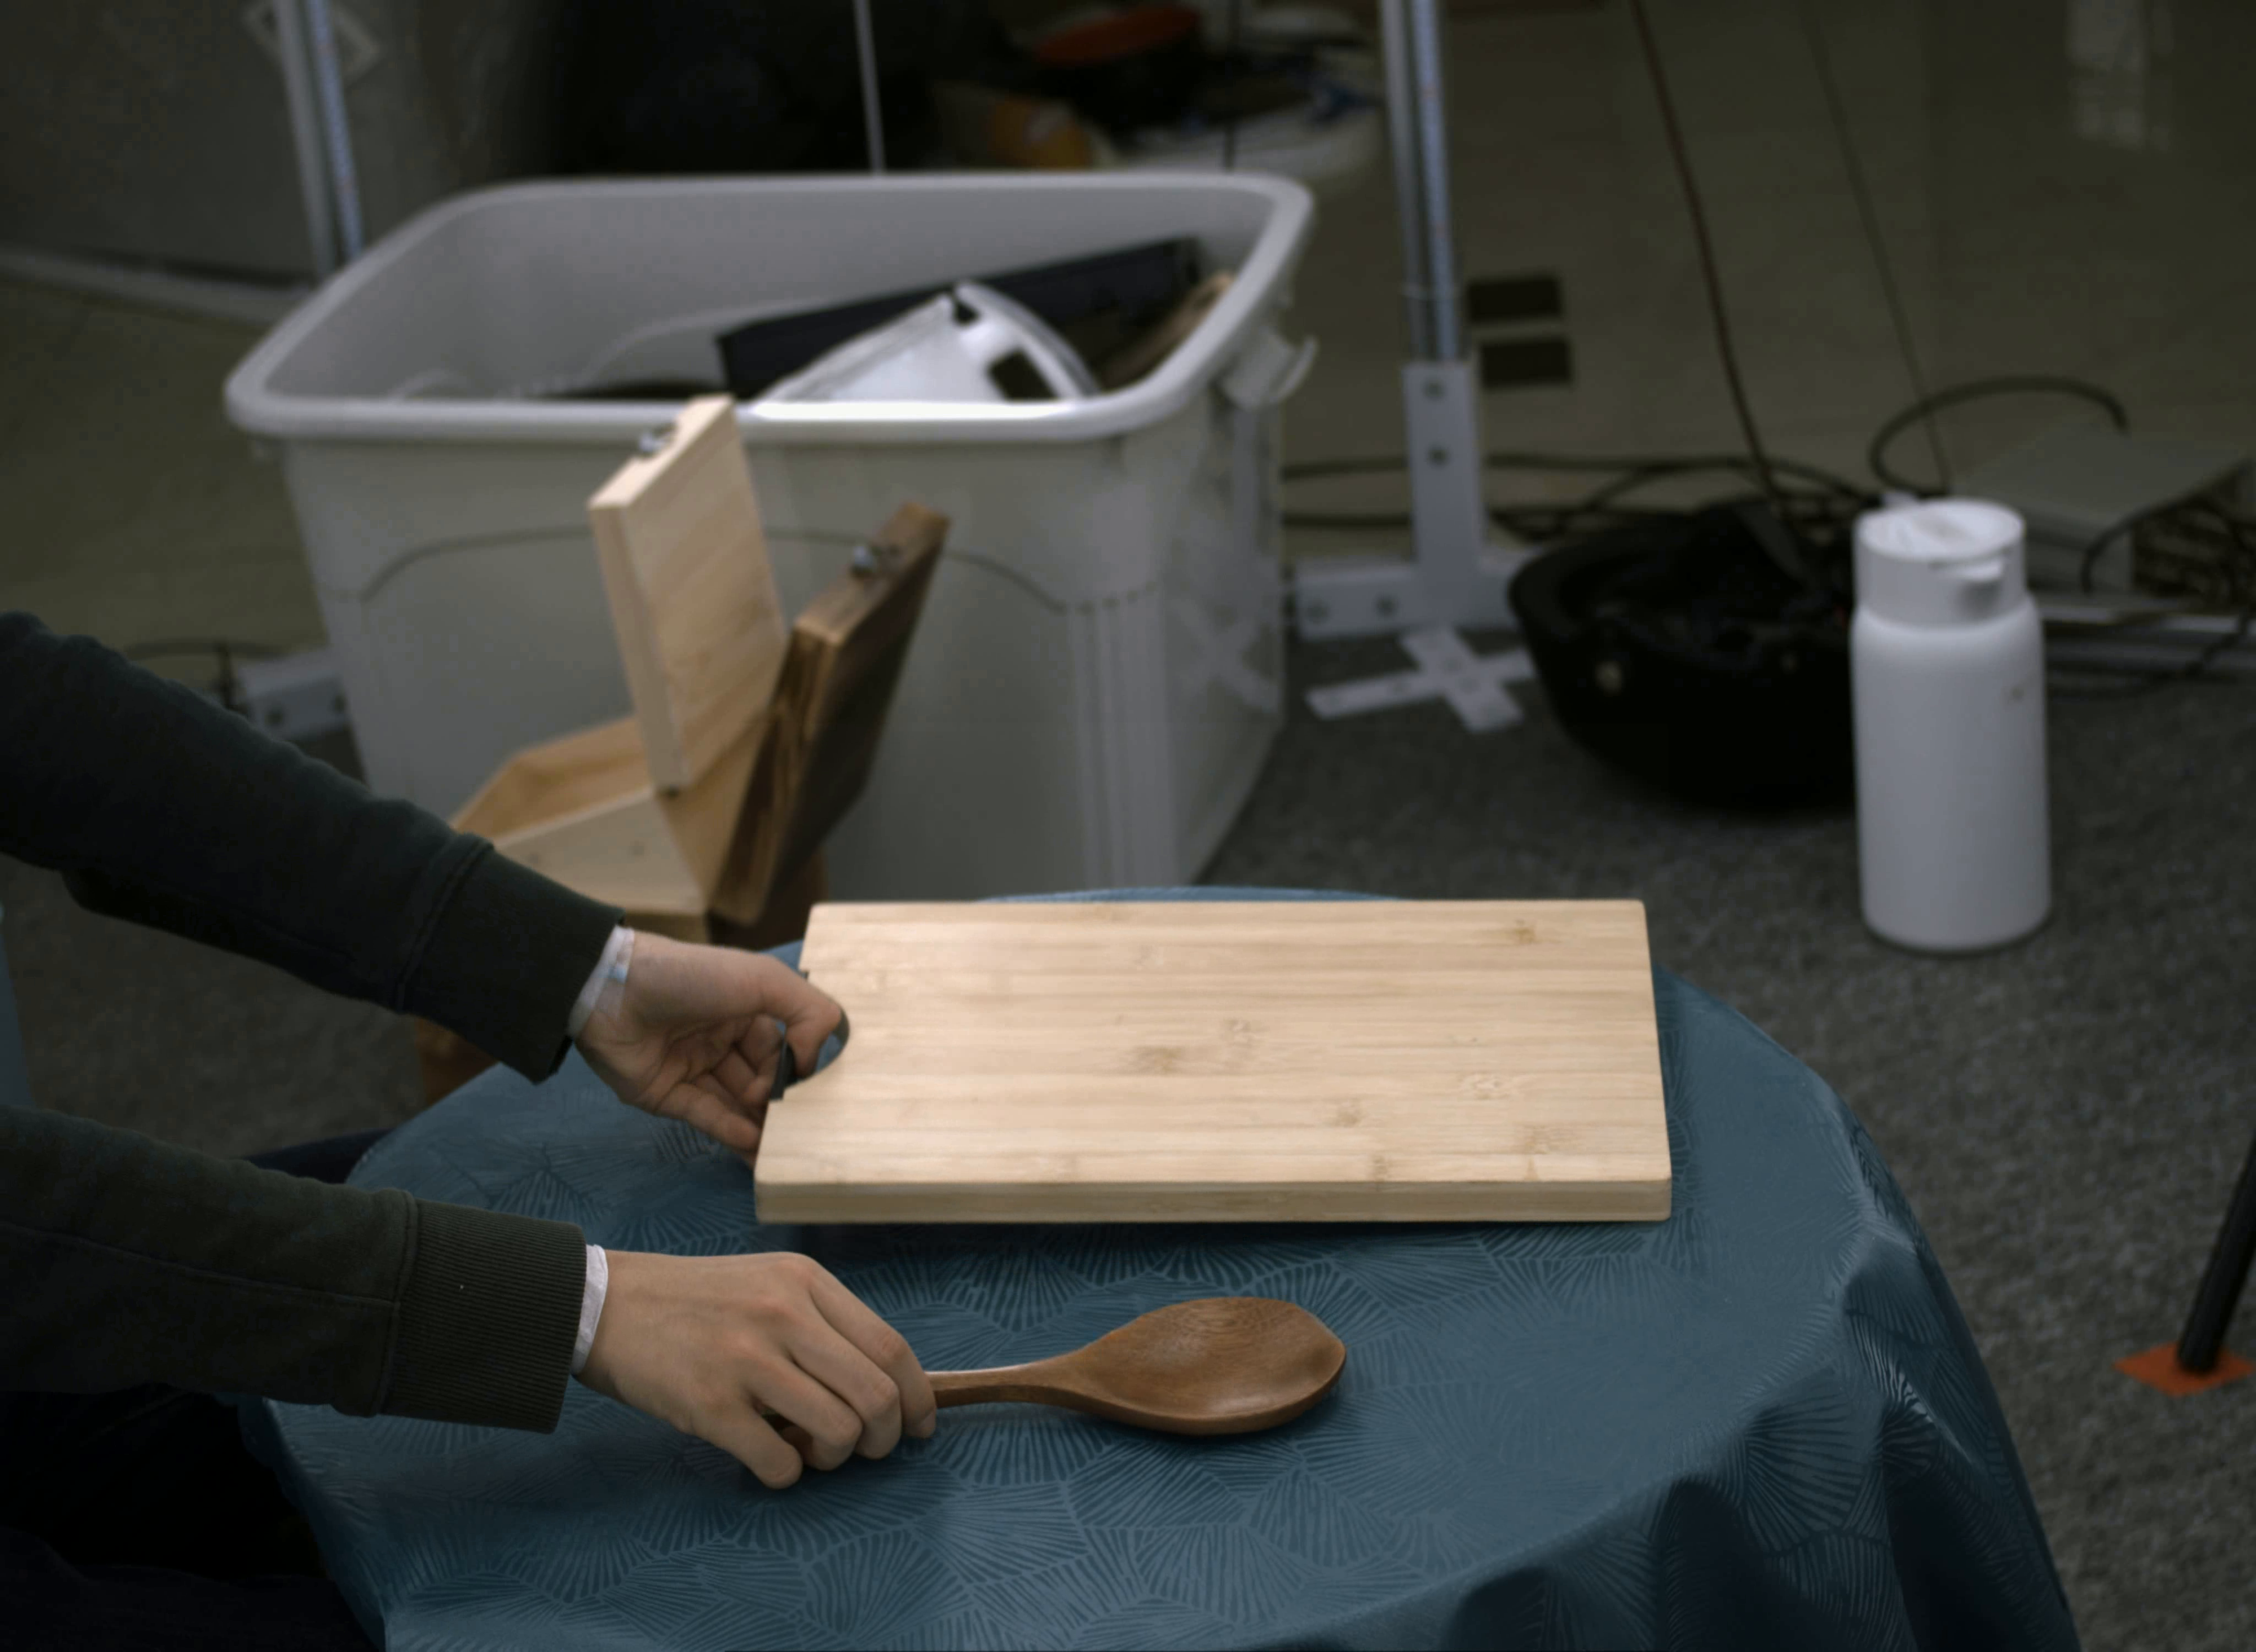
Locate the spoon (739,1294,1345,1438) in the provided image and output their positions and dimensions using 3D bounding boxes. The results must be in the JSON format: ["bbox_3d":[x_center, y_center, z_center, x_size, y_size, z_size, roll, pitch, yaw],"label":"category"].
[{"bbox_3d":[-0.031,0.197,2.008,0.215,0.017,0.074,-4,33,2],"label":"spoon"}]

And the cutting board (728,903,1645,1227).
[{"bbox_3d":[0.029,0.091,2.201,0.348,0.024,0.247,-1,24,2],"label":"cutting board"}]
